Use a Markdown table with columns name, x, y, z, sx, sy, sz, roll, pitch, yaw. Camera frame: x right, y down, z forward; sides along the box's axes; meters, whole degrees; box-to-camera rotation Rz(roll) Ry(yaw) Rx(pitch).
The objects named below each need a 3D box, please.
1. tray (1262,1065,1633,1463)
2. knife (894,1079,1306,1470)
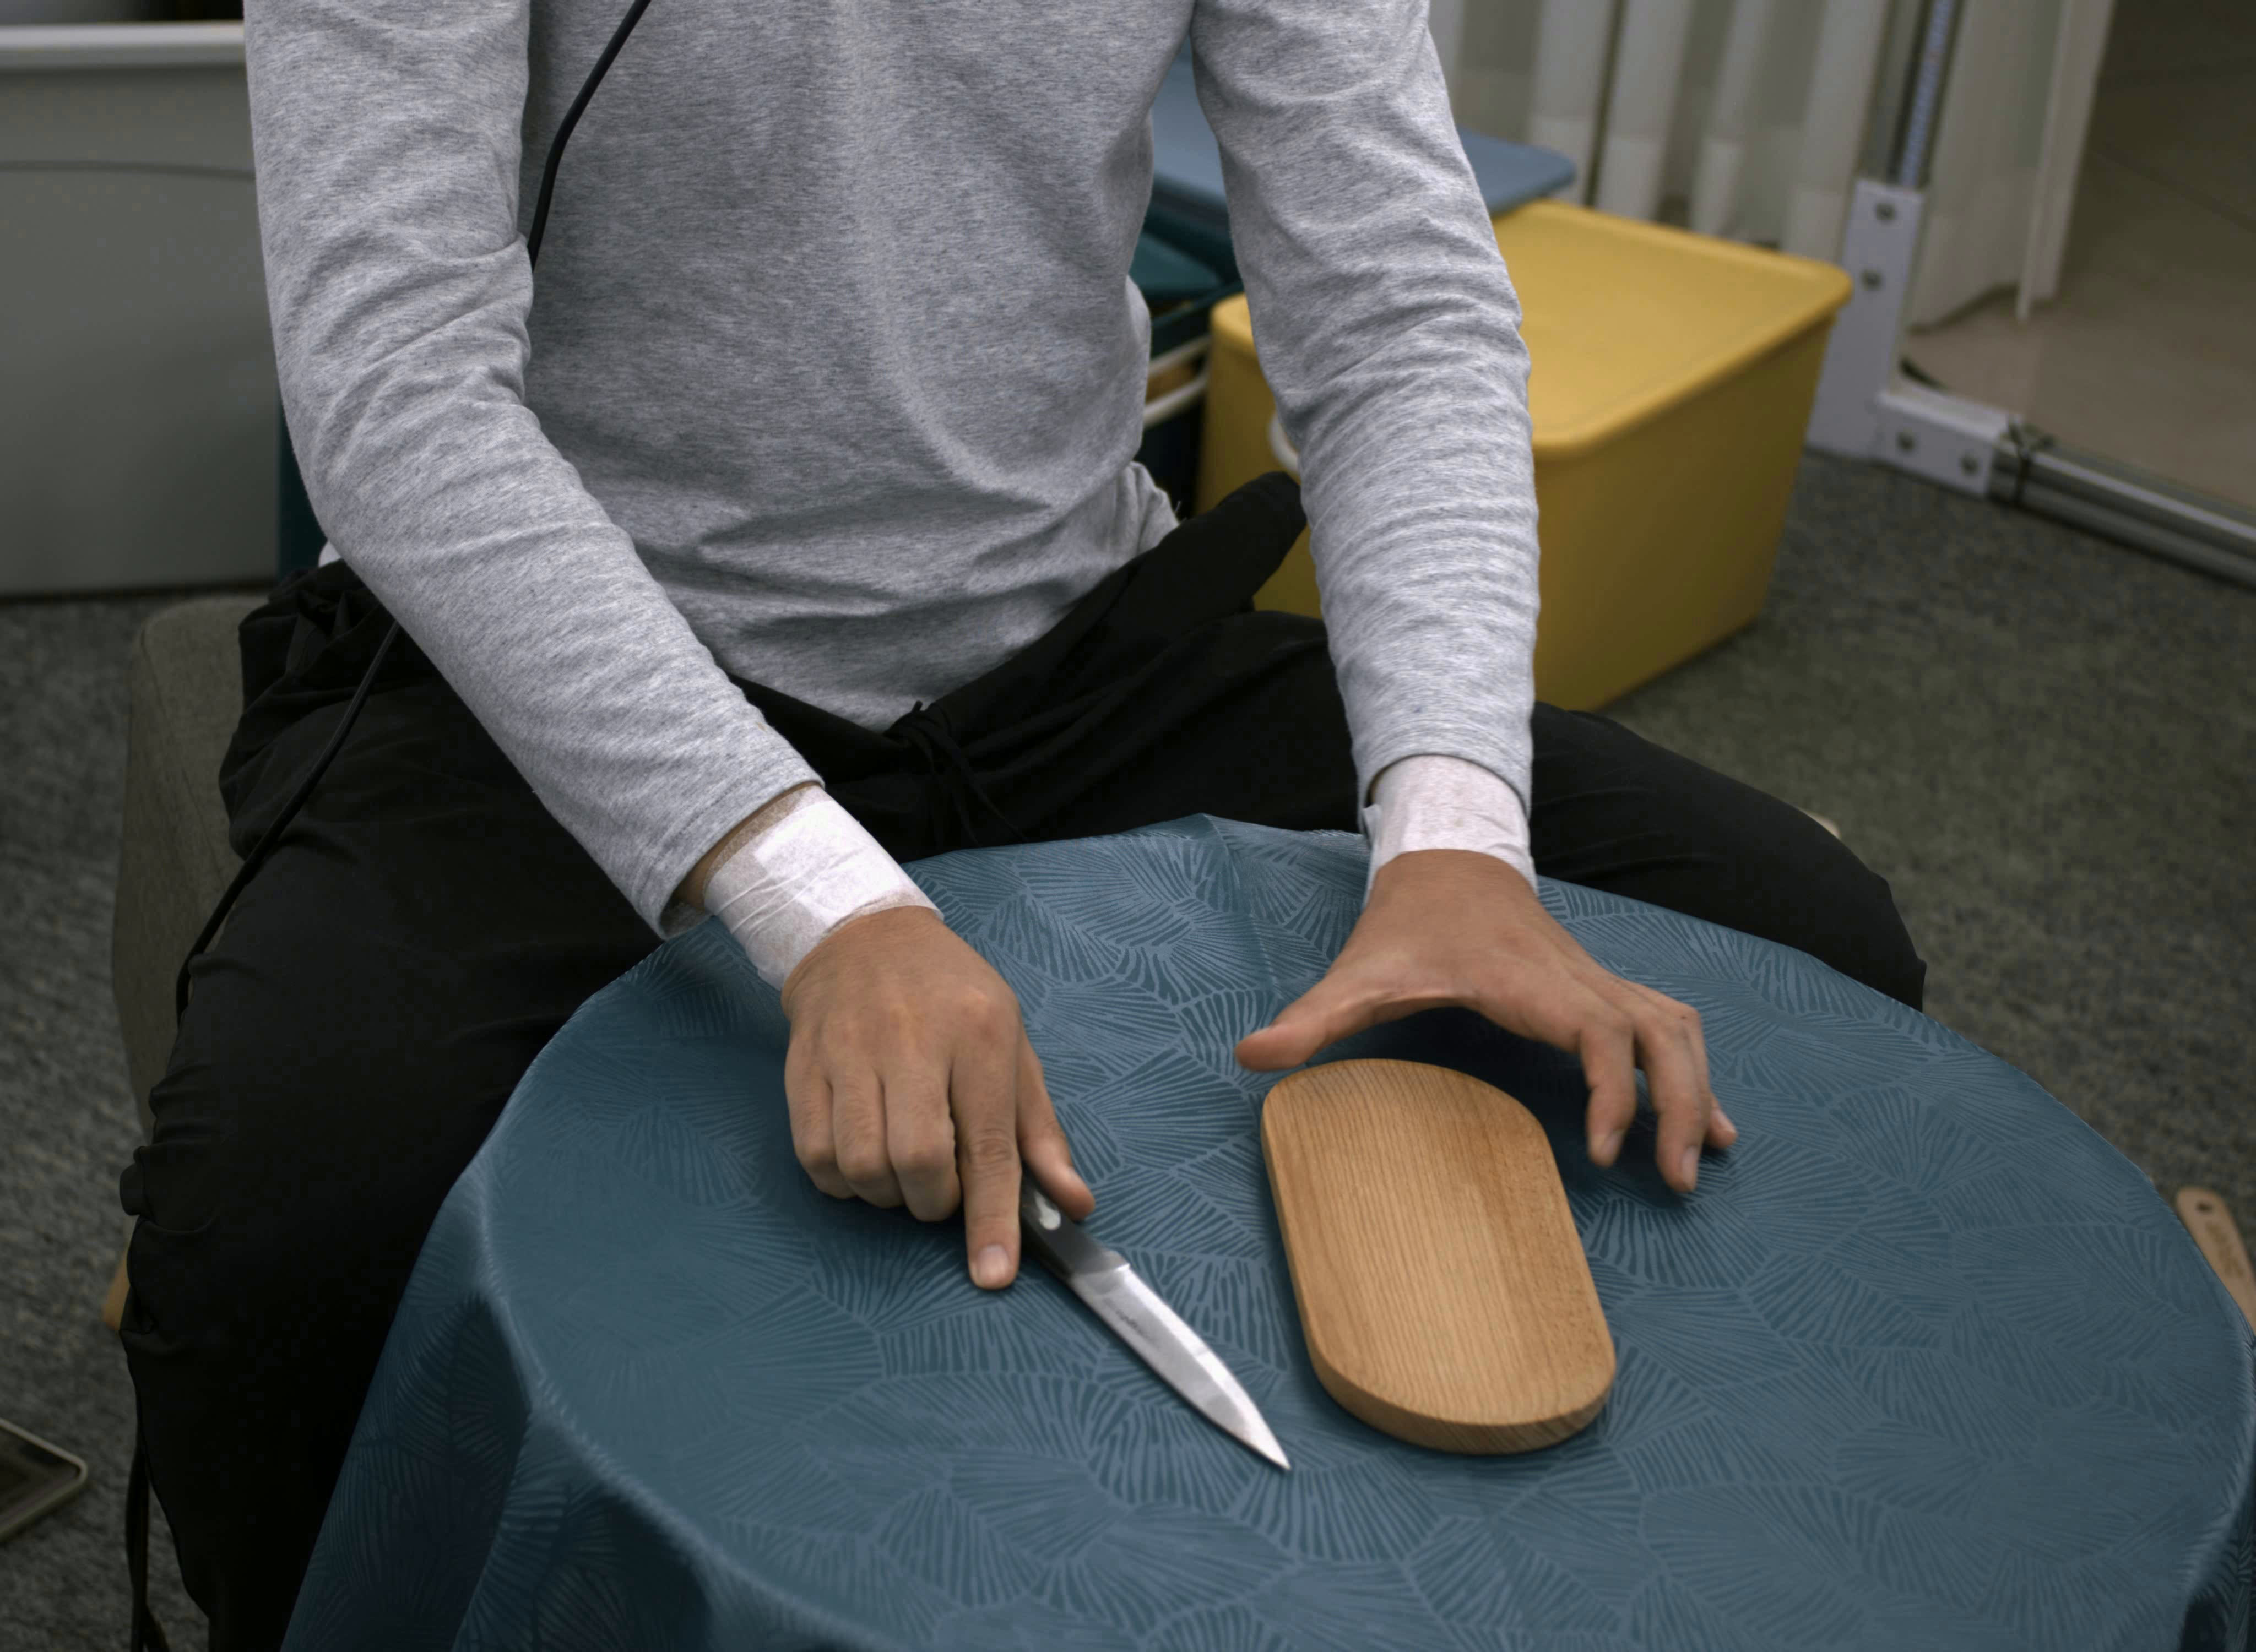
| name | x | y | z | sx | sy | sz | roll | pitch | yaw |
| --- | --- | --- | --- | --- | --- | --- | --- | --- | --- |
| tray | 0.104 | 0.143 | 1.774 | 0.101 | 0.020 | 0.233 | 1 | 28 | -8 |
| knife | -0.013 | 0.147 | 1.743 | 0.024 | 0.016 | 0.240 | -18 | 37 | -28 |
